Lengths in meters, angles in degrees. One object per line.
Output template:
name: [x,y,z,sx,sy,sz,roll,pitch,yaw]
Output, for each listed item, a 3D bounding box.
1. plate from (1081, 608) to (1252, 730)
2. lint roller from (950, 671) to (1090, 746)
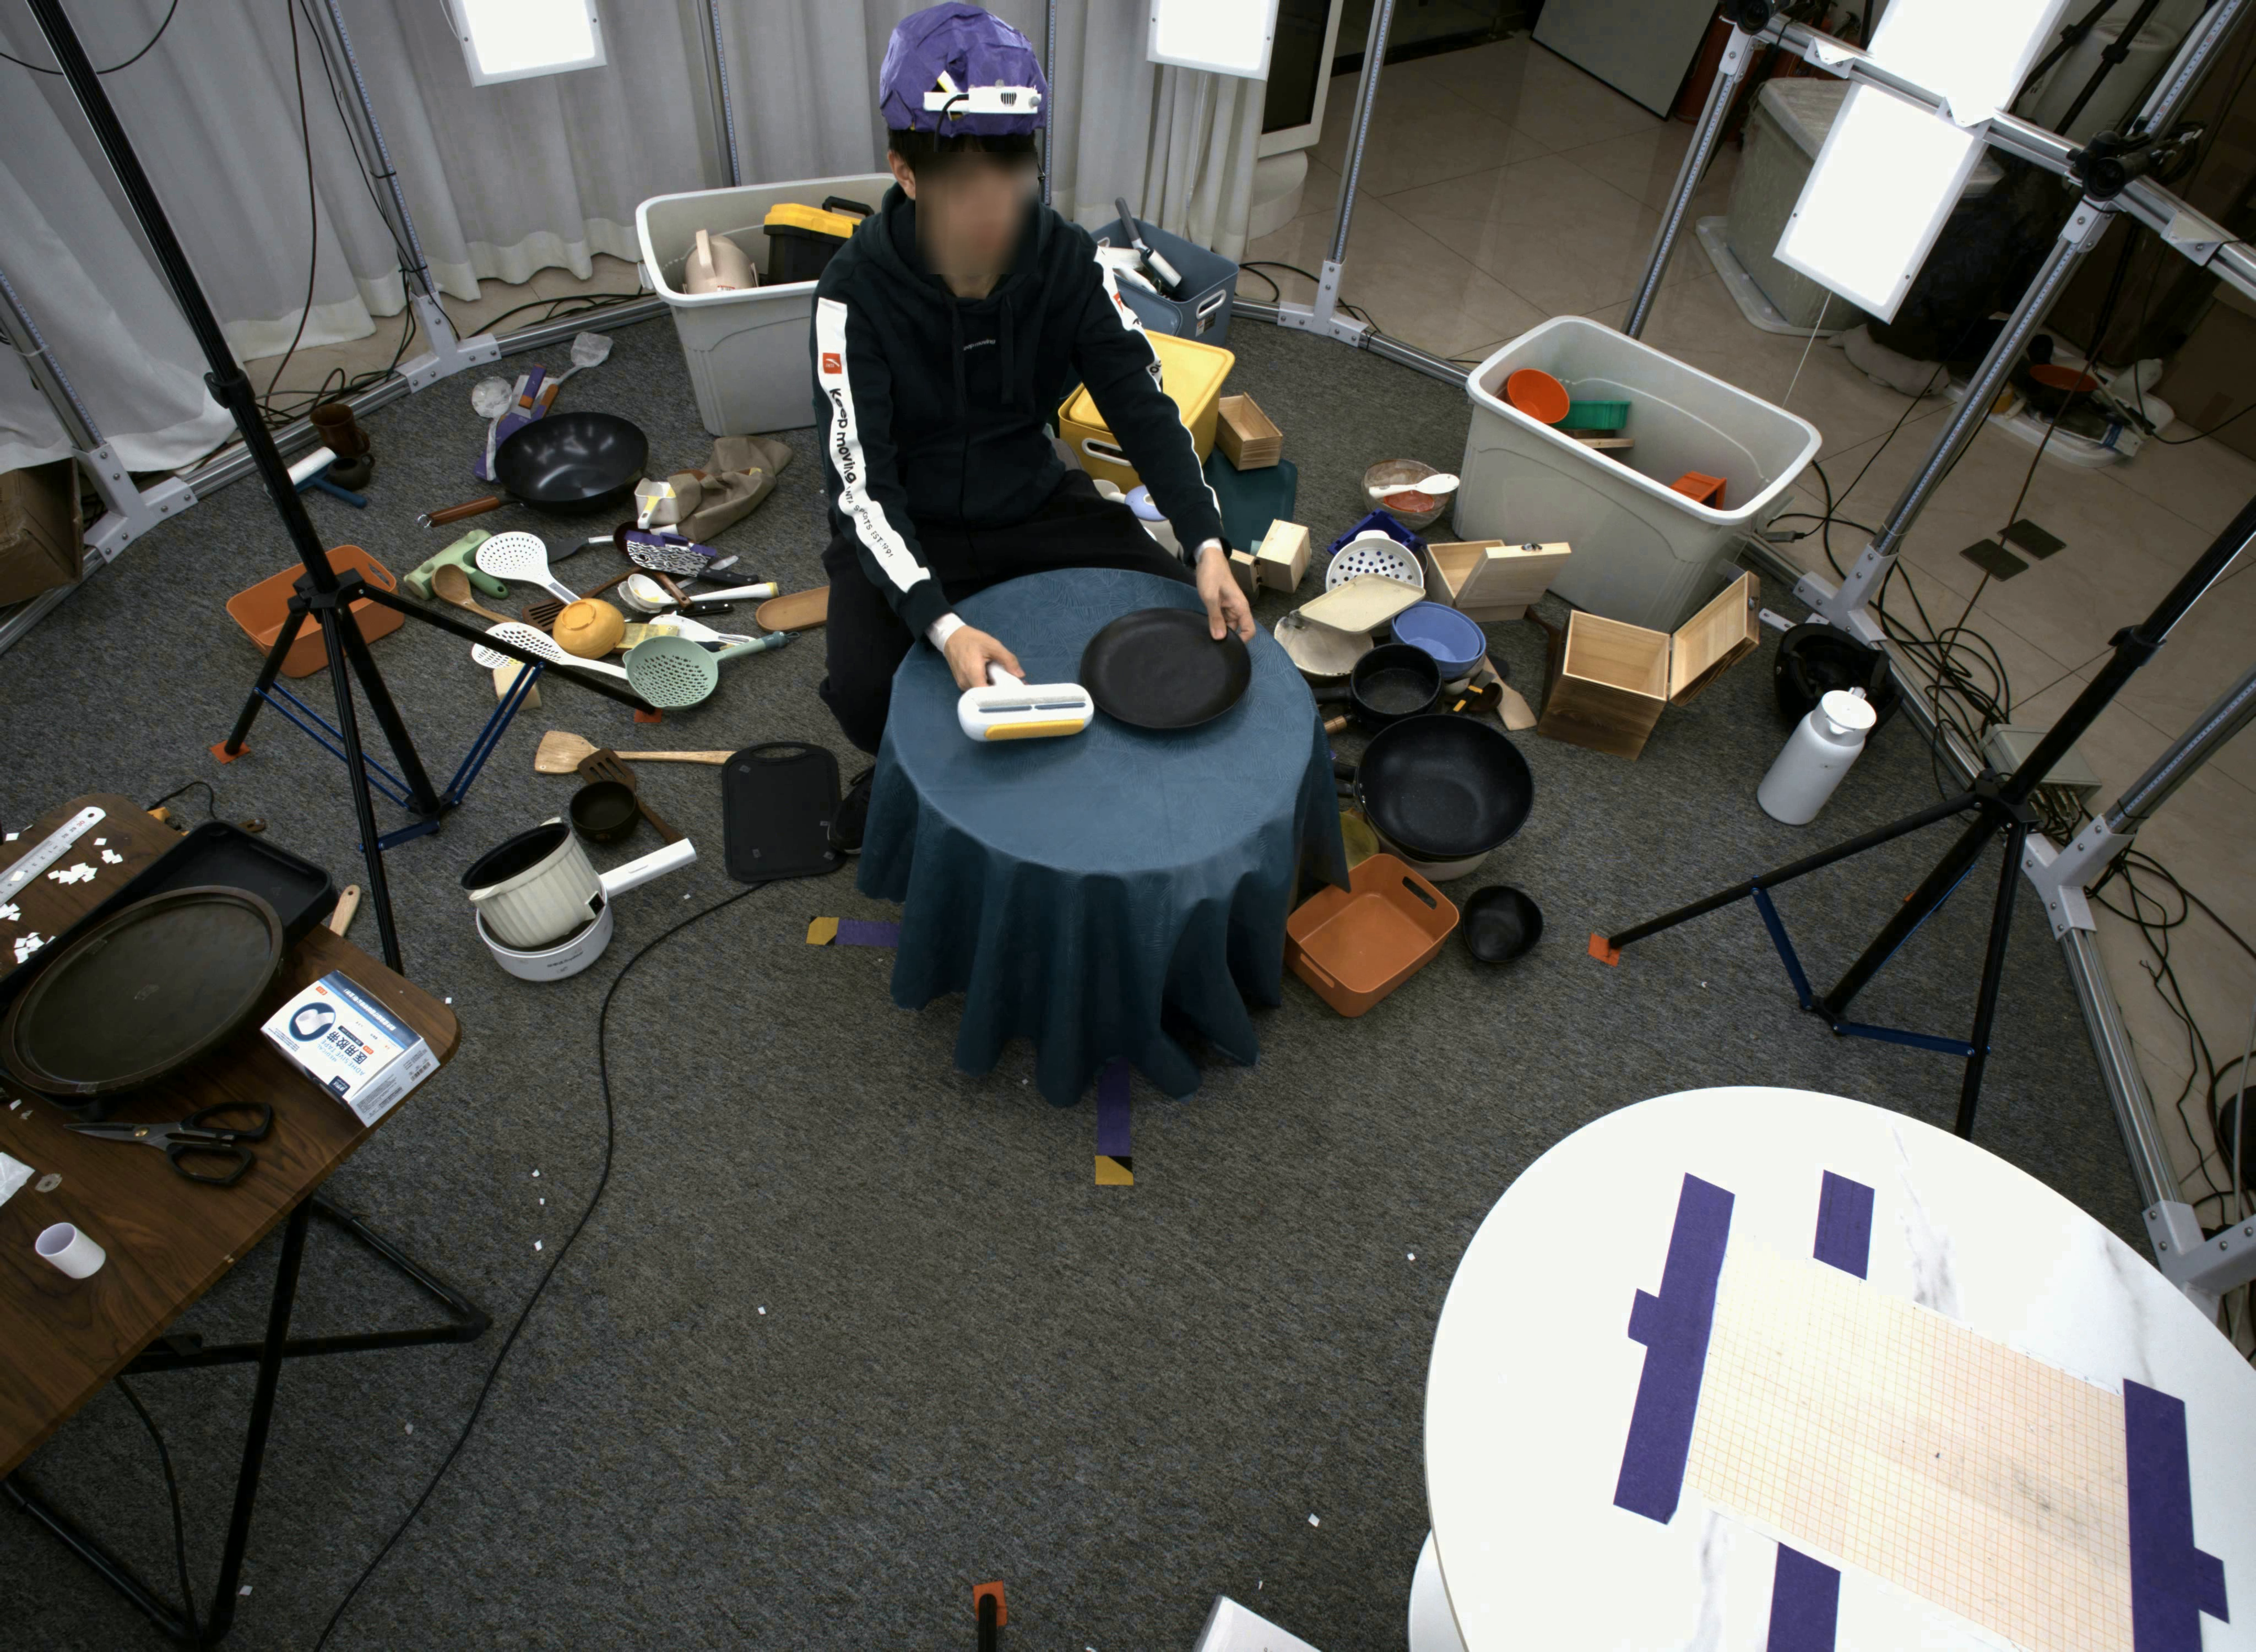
plate: [0.055,-0.223,1.840,0.244,0.023,0.250,-2,51,2]
lint roller: [-0.166,-0.177,1.782,0.192,0.072,0.197,-5,38,-22]
